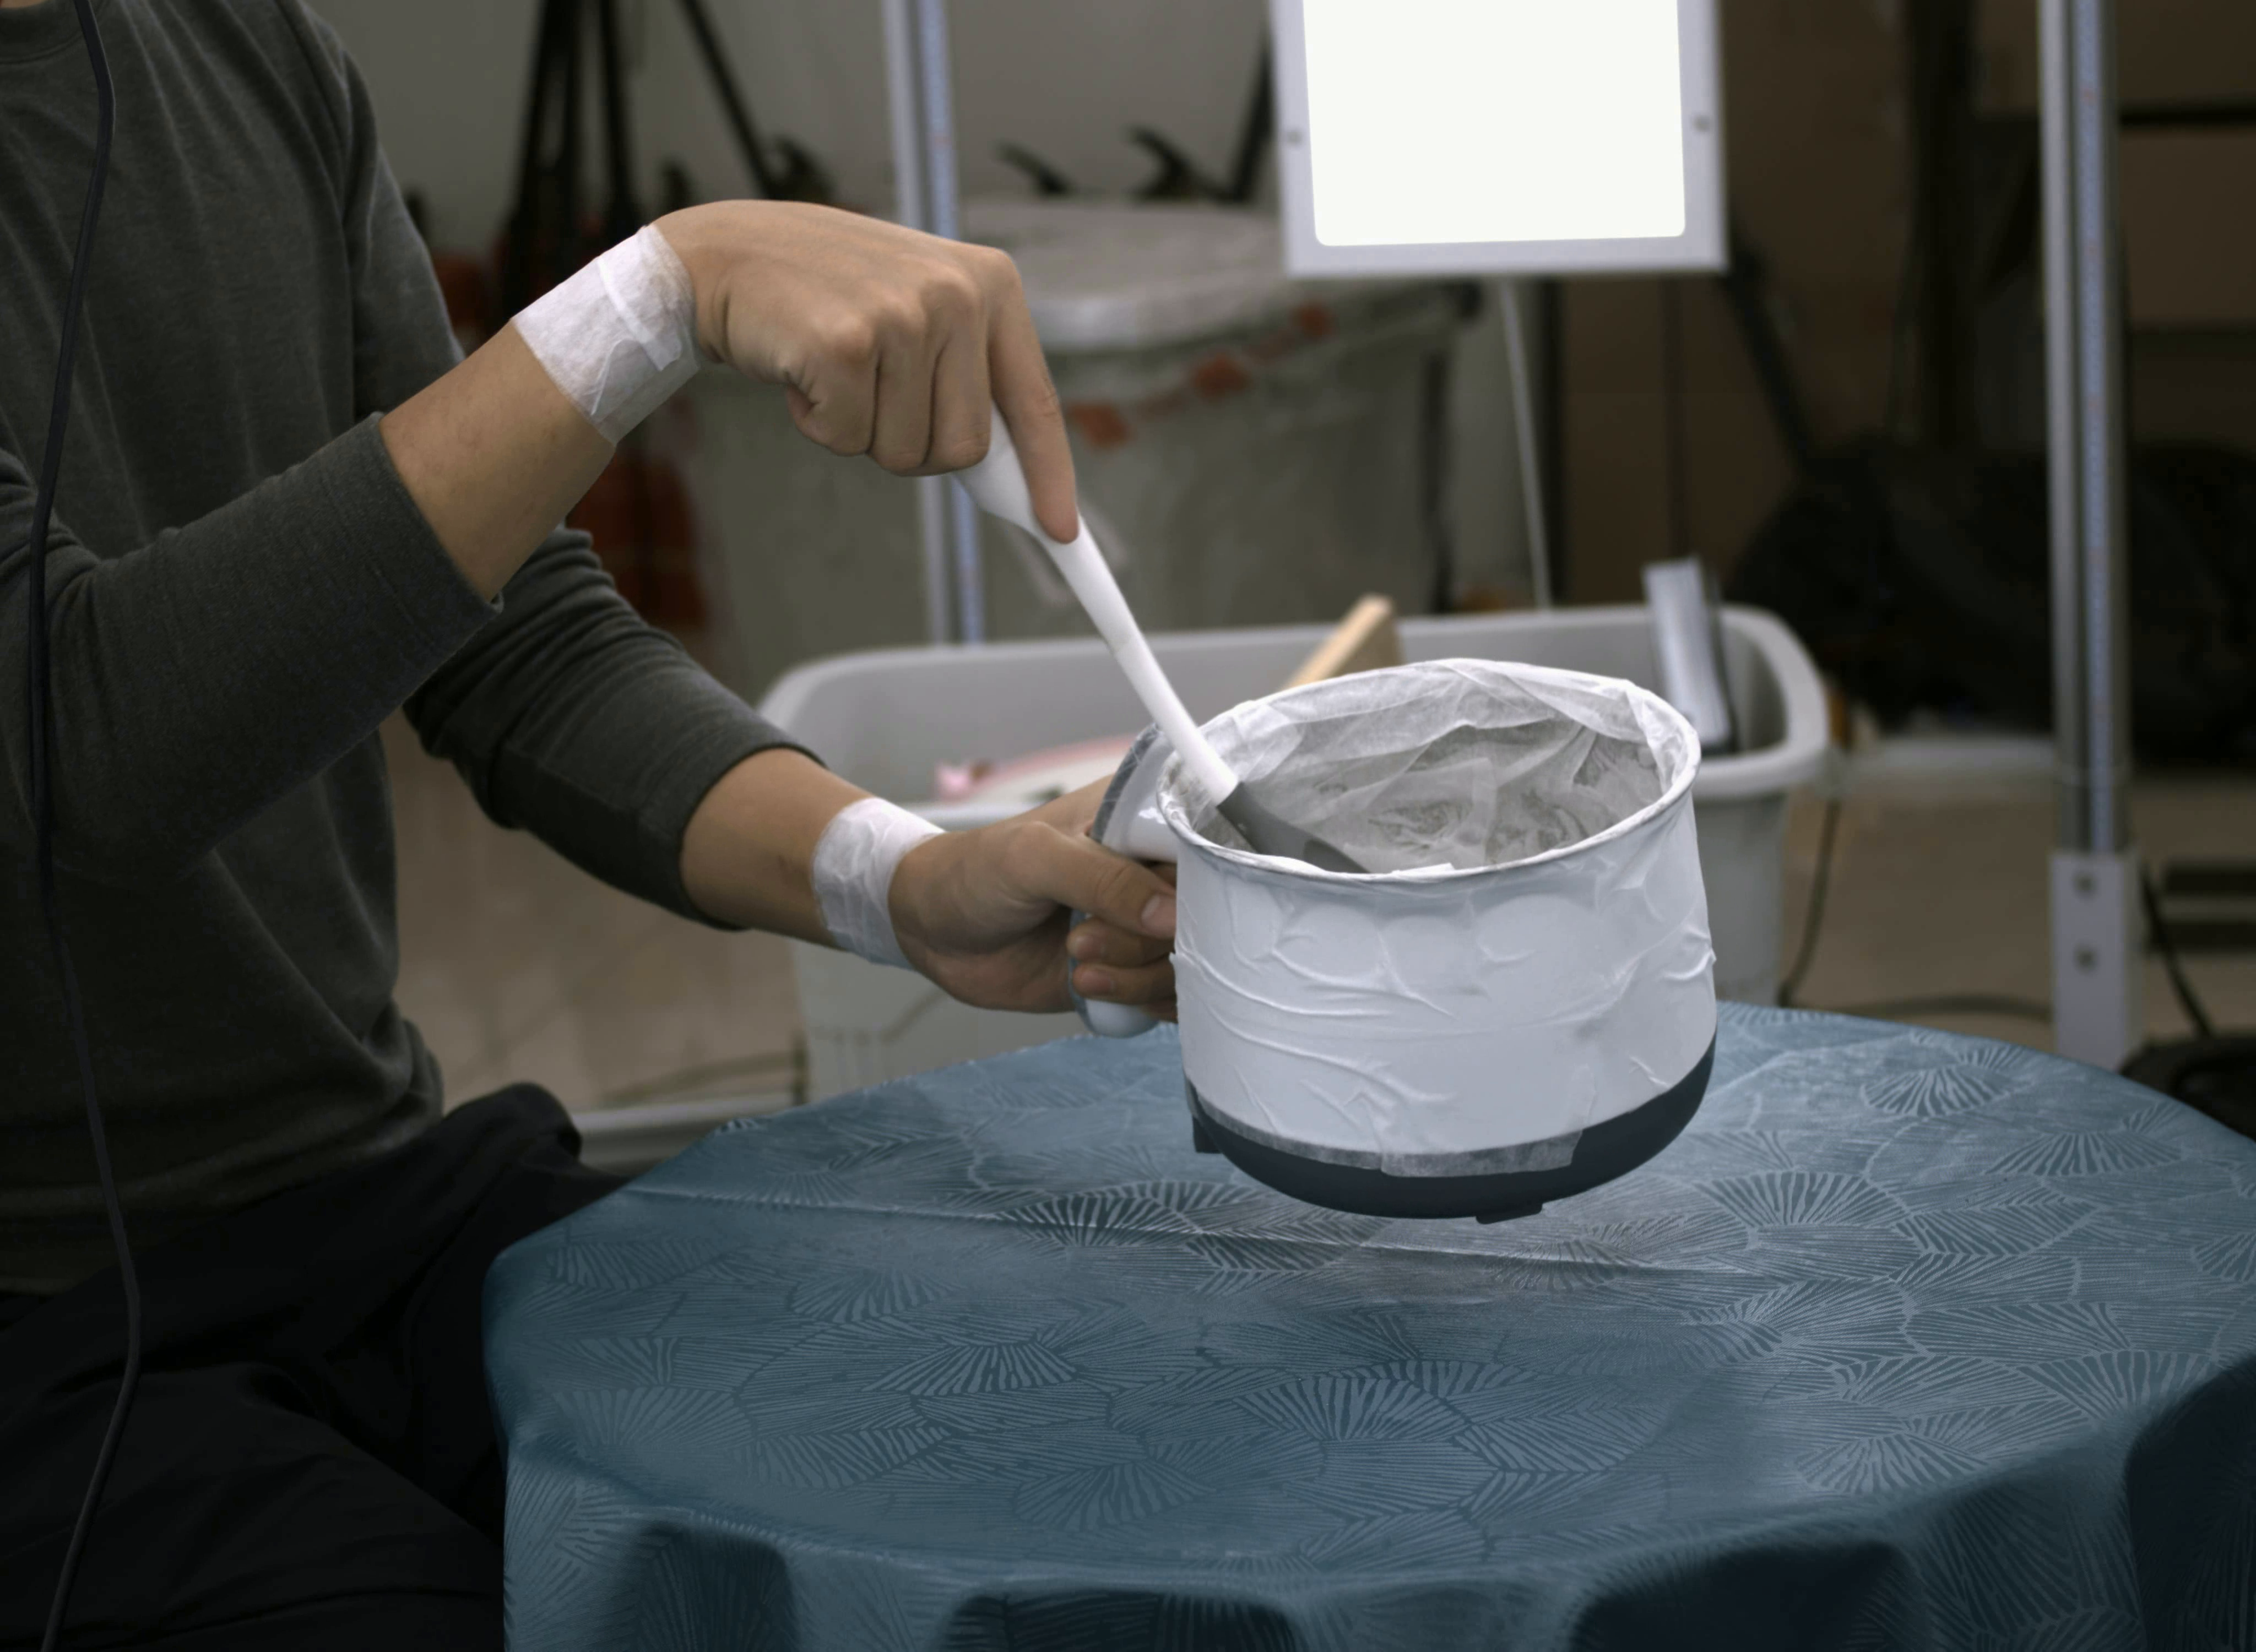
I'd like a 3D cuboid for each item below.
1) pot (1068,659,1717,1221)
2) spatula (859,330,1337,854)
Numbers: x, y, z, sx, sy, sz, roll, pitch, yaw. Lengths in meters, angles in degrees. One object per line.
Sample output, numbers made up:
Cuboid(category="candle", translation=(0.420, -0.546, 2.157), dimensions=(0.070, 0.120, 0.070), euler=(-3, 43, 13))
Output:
Cuboid(category="pot", translation=(0.080, 0.033, 1.808), dimensions=(0.238, 0.137, 0.174), euler=(9, 27, 32))
Cuboid(category="spatula", translation=(0.017, -0.042, 1.778), dimensions=(0.032, 0.286, 0.058), euler=(-37, 12, 20))
